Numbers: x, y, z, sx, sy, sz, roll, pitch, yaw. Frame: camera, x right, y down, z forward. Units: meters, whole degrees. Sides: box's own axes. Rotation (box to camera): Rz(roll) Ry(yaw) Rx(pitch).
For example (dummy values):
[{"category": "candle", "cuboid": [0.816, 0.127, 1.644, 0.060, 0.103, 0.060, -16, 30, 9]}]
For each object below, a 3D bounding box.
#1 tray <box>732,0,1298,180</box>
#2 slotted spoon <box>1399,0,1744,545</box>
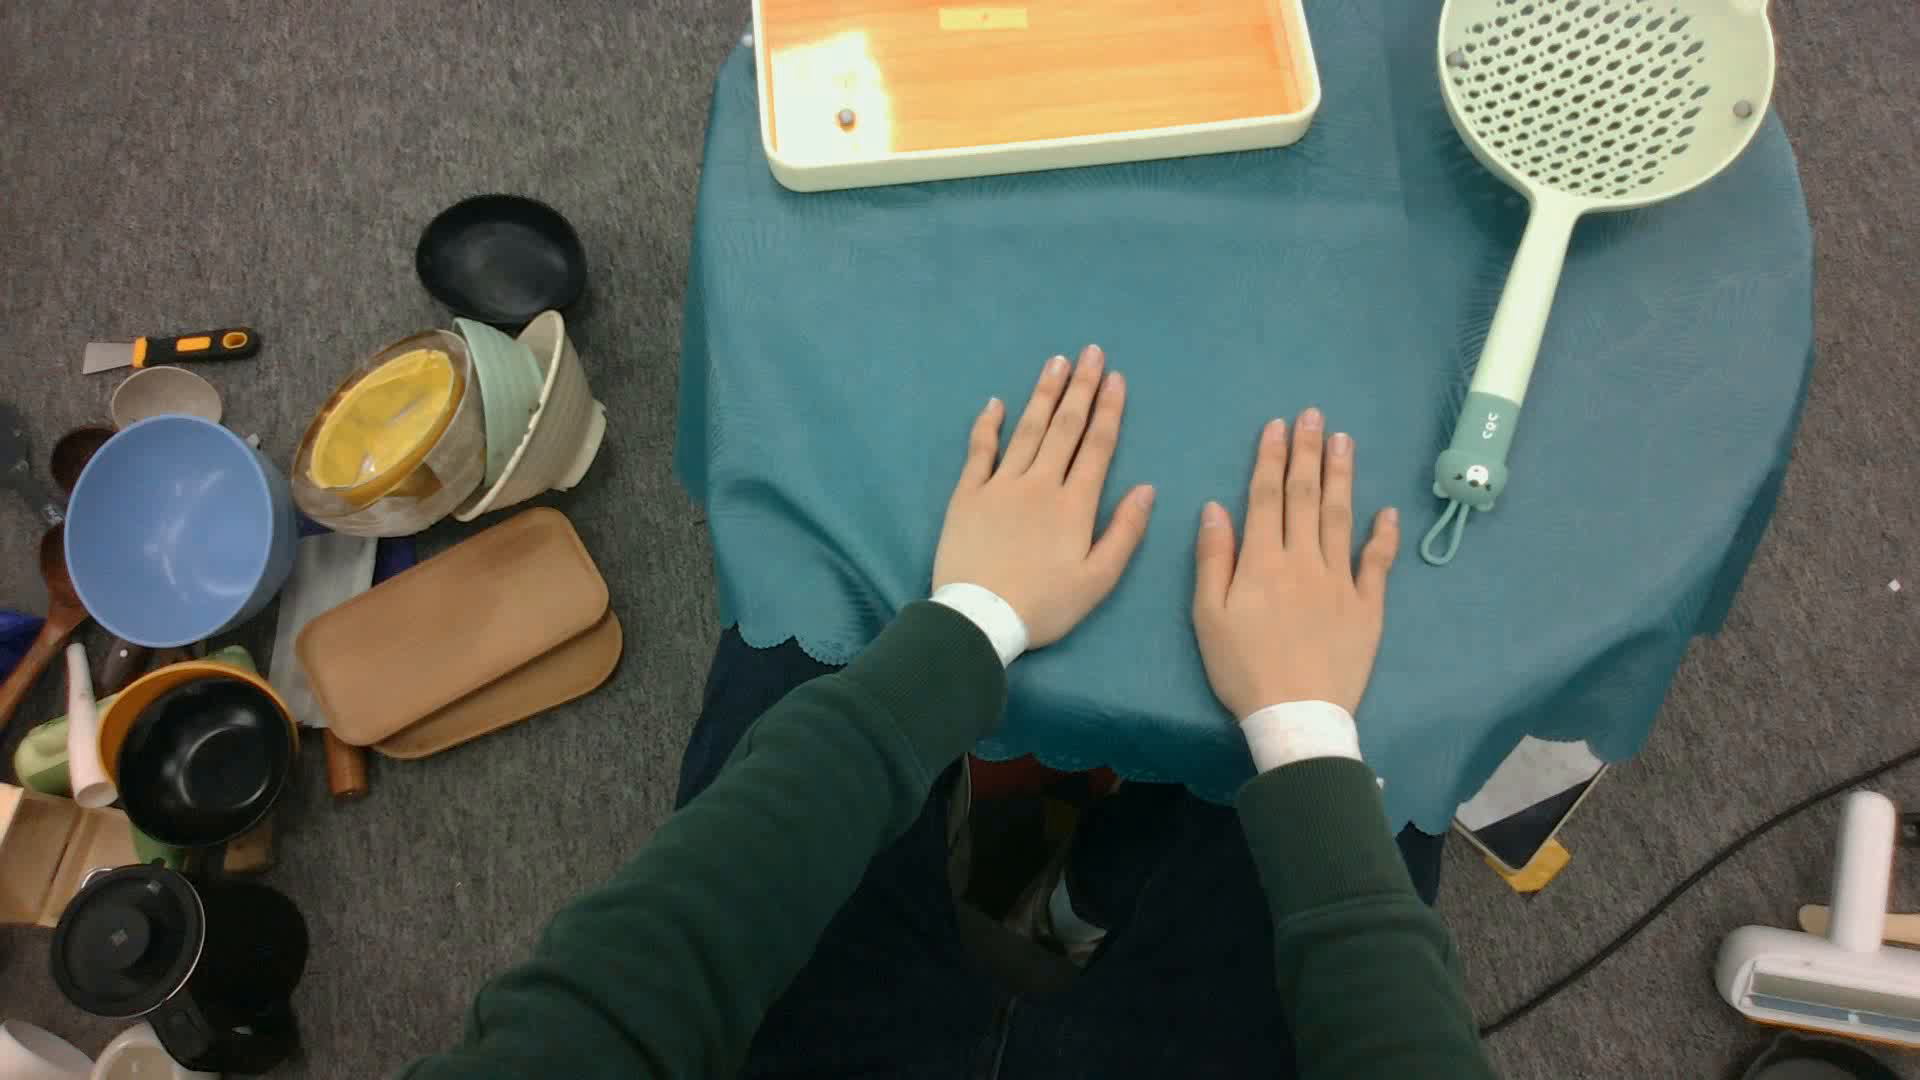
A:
[{"category": "tray", "cuboid": [0.025, -0.300, 0.770, 0.300, 0.027, 0.192, -6, 70, -2]}, {"category": "slotted spoon", "cuboid": [0.287, -0.168, 0.707, 0.169, 0.075, 0.360, 19, 71, 7]}]
